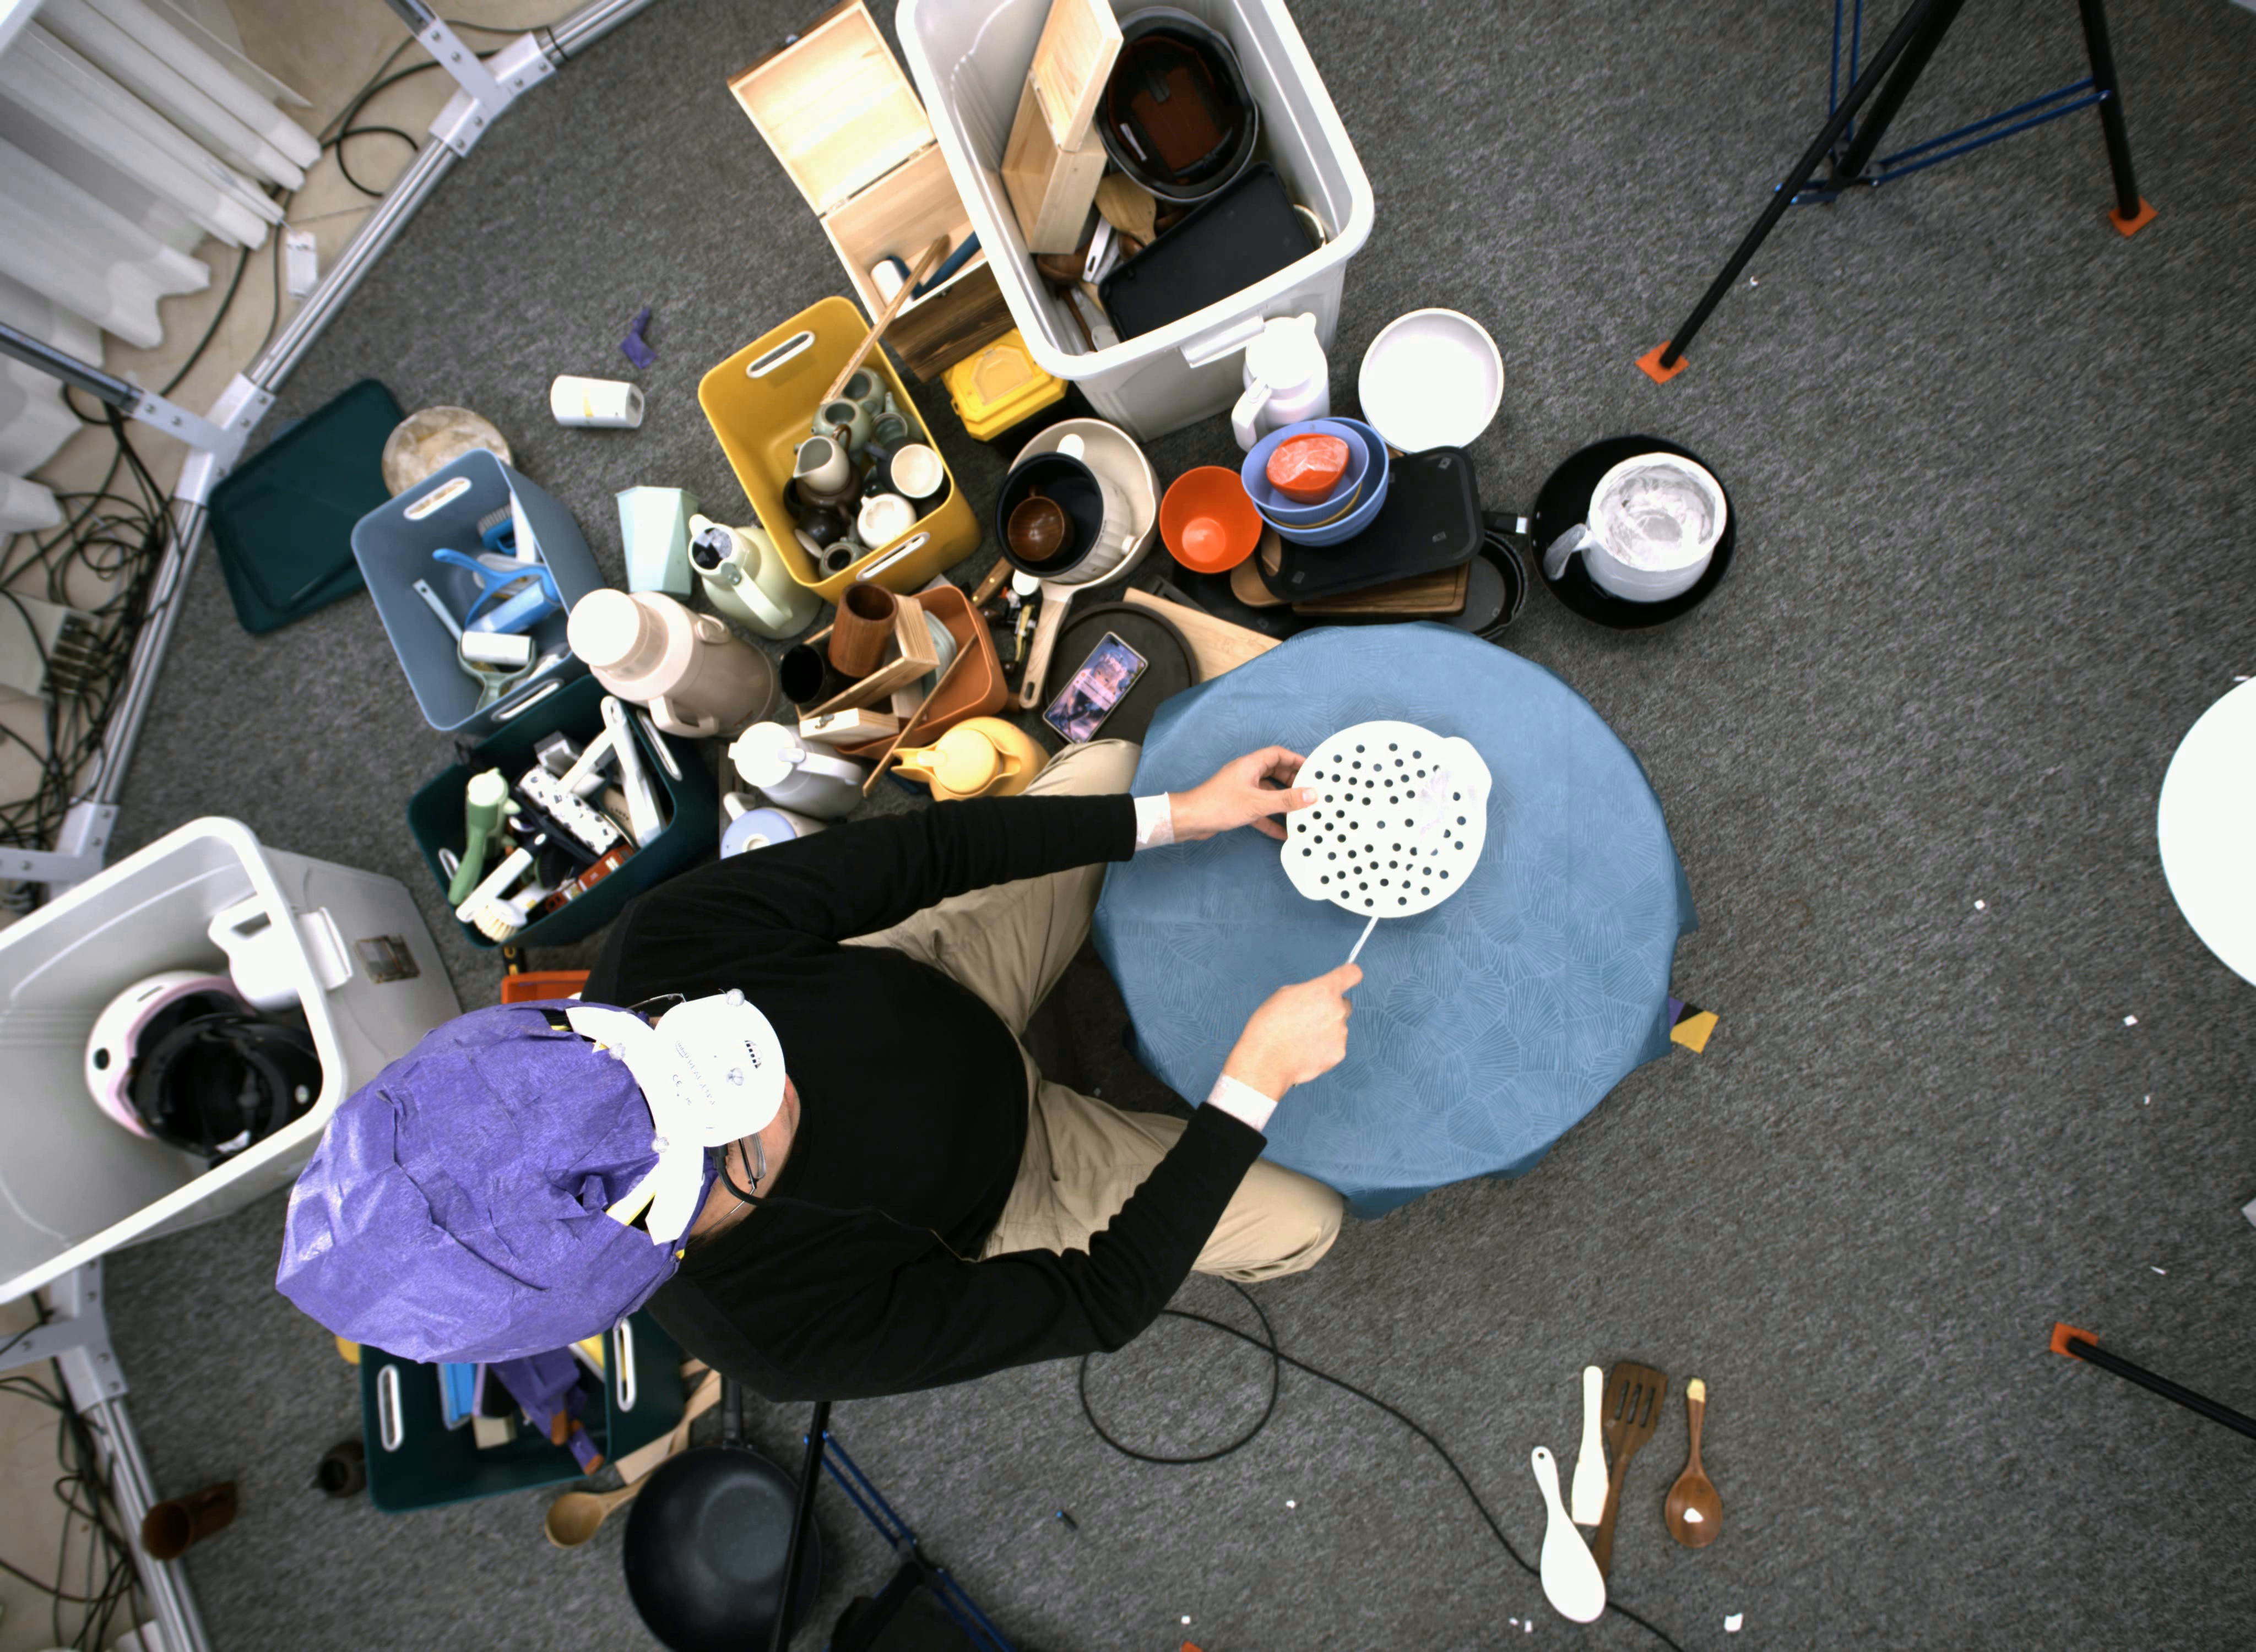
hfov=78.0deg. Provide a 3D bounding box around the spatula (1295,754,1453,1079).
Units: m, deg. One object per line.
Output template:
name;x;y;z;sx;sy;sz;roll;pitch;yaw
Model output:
spatula;0.240;0.083;1.356;0.045;0.100;0.359;35;72;1

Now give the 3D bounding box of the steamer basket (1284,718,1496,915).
steamer basket;0.269;-0.009;1.425;0.231;0.069;0.201;-32;83;4
